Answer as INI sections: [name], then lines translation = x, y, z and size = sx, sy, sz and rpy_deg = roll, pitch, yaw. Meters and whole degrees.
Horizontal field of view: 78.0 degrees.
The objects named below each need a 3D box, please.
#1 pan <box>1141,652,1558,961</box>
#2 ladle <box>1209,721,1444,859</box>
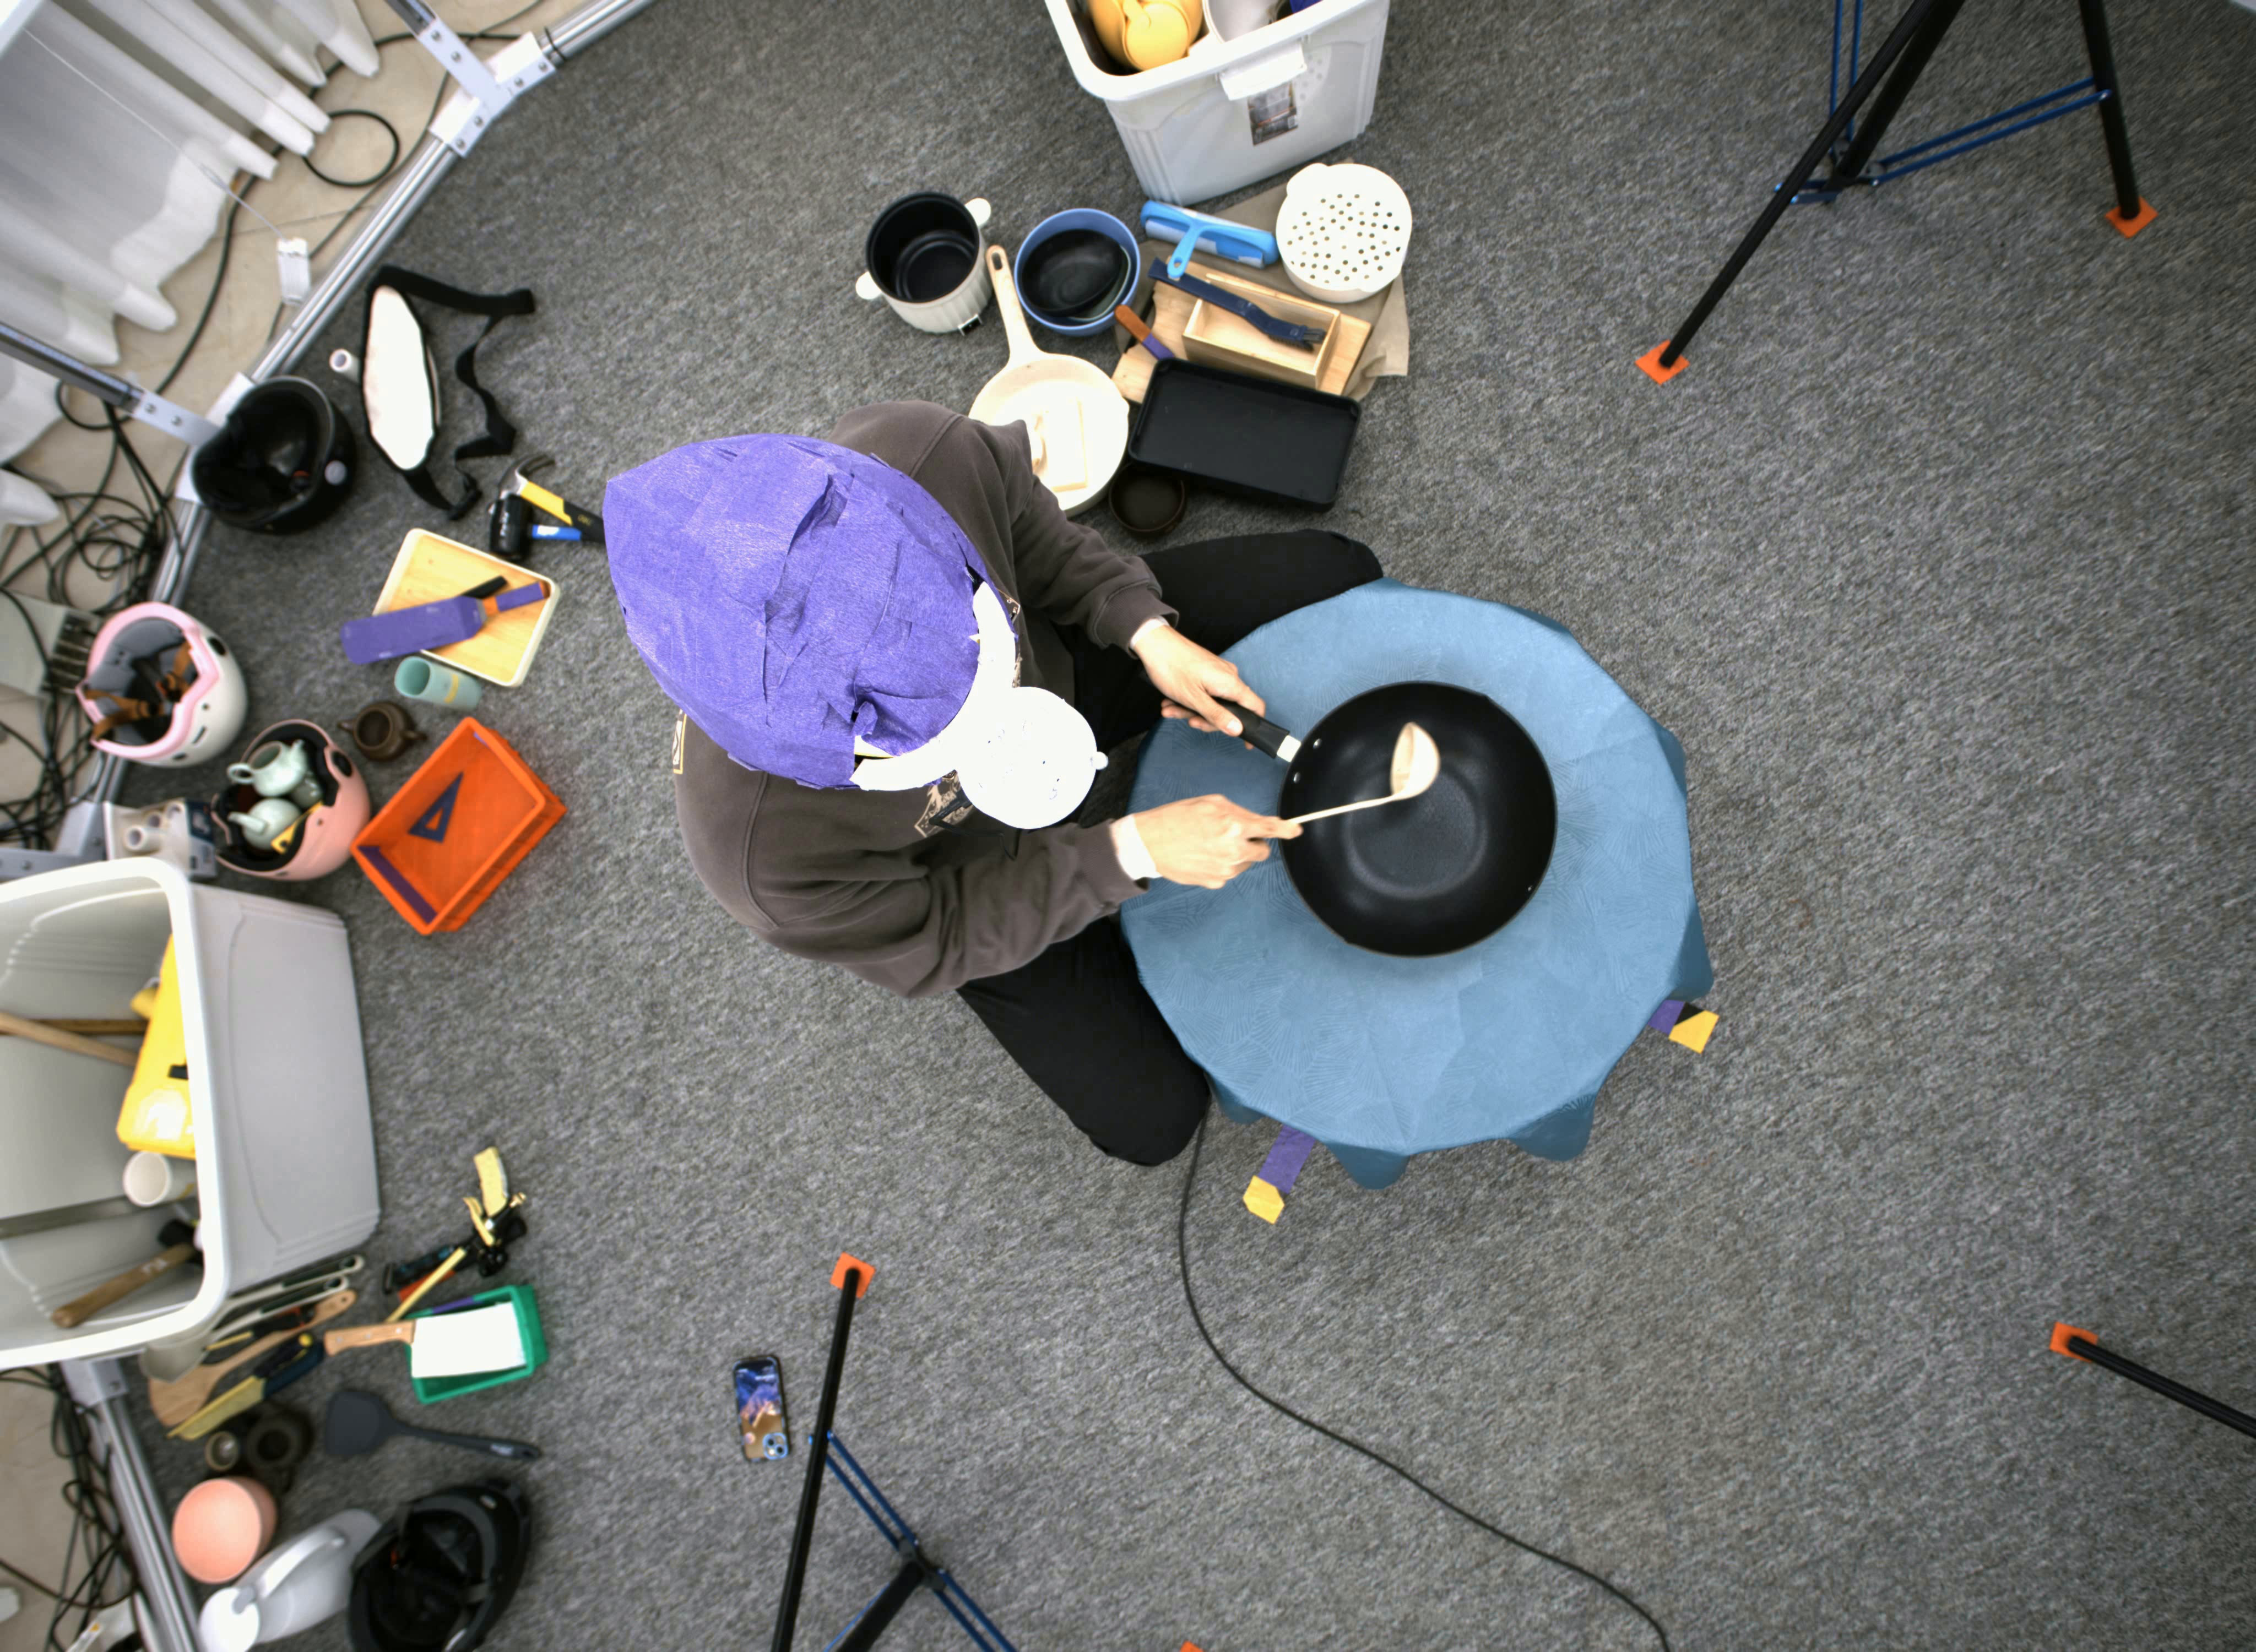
[pan]
translation = 0.216, -0.049, 1.431
size = 0.462, 0.087, 0.289
rpy_deg = 30, 93, 11
[ladle]
translation = 0.186, -0.039, 1.337
size = 0.253, 0.072, 0.073
rpy_deg = -17, 97, -12
